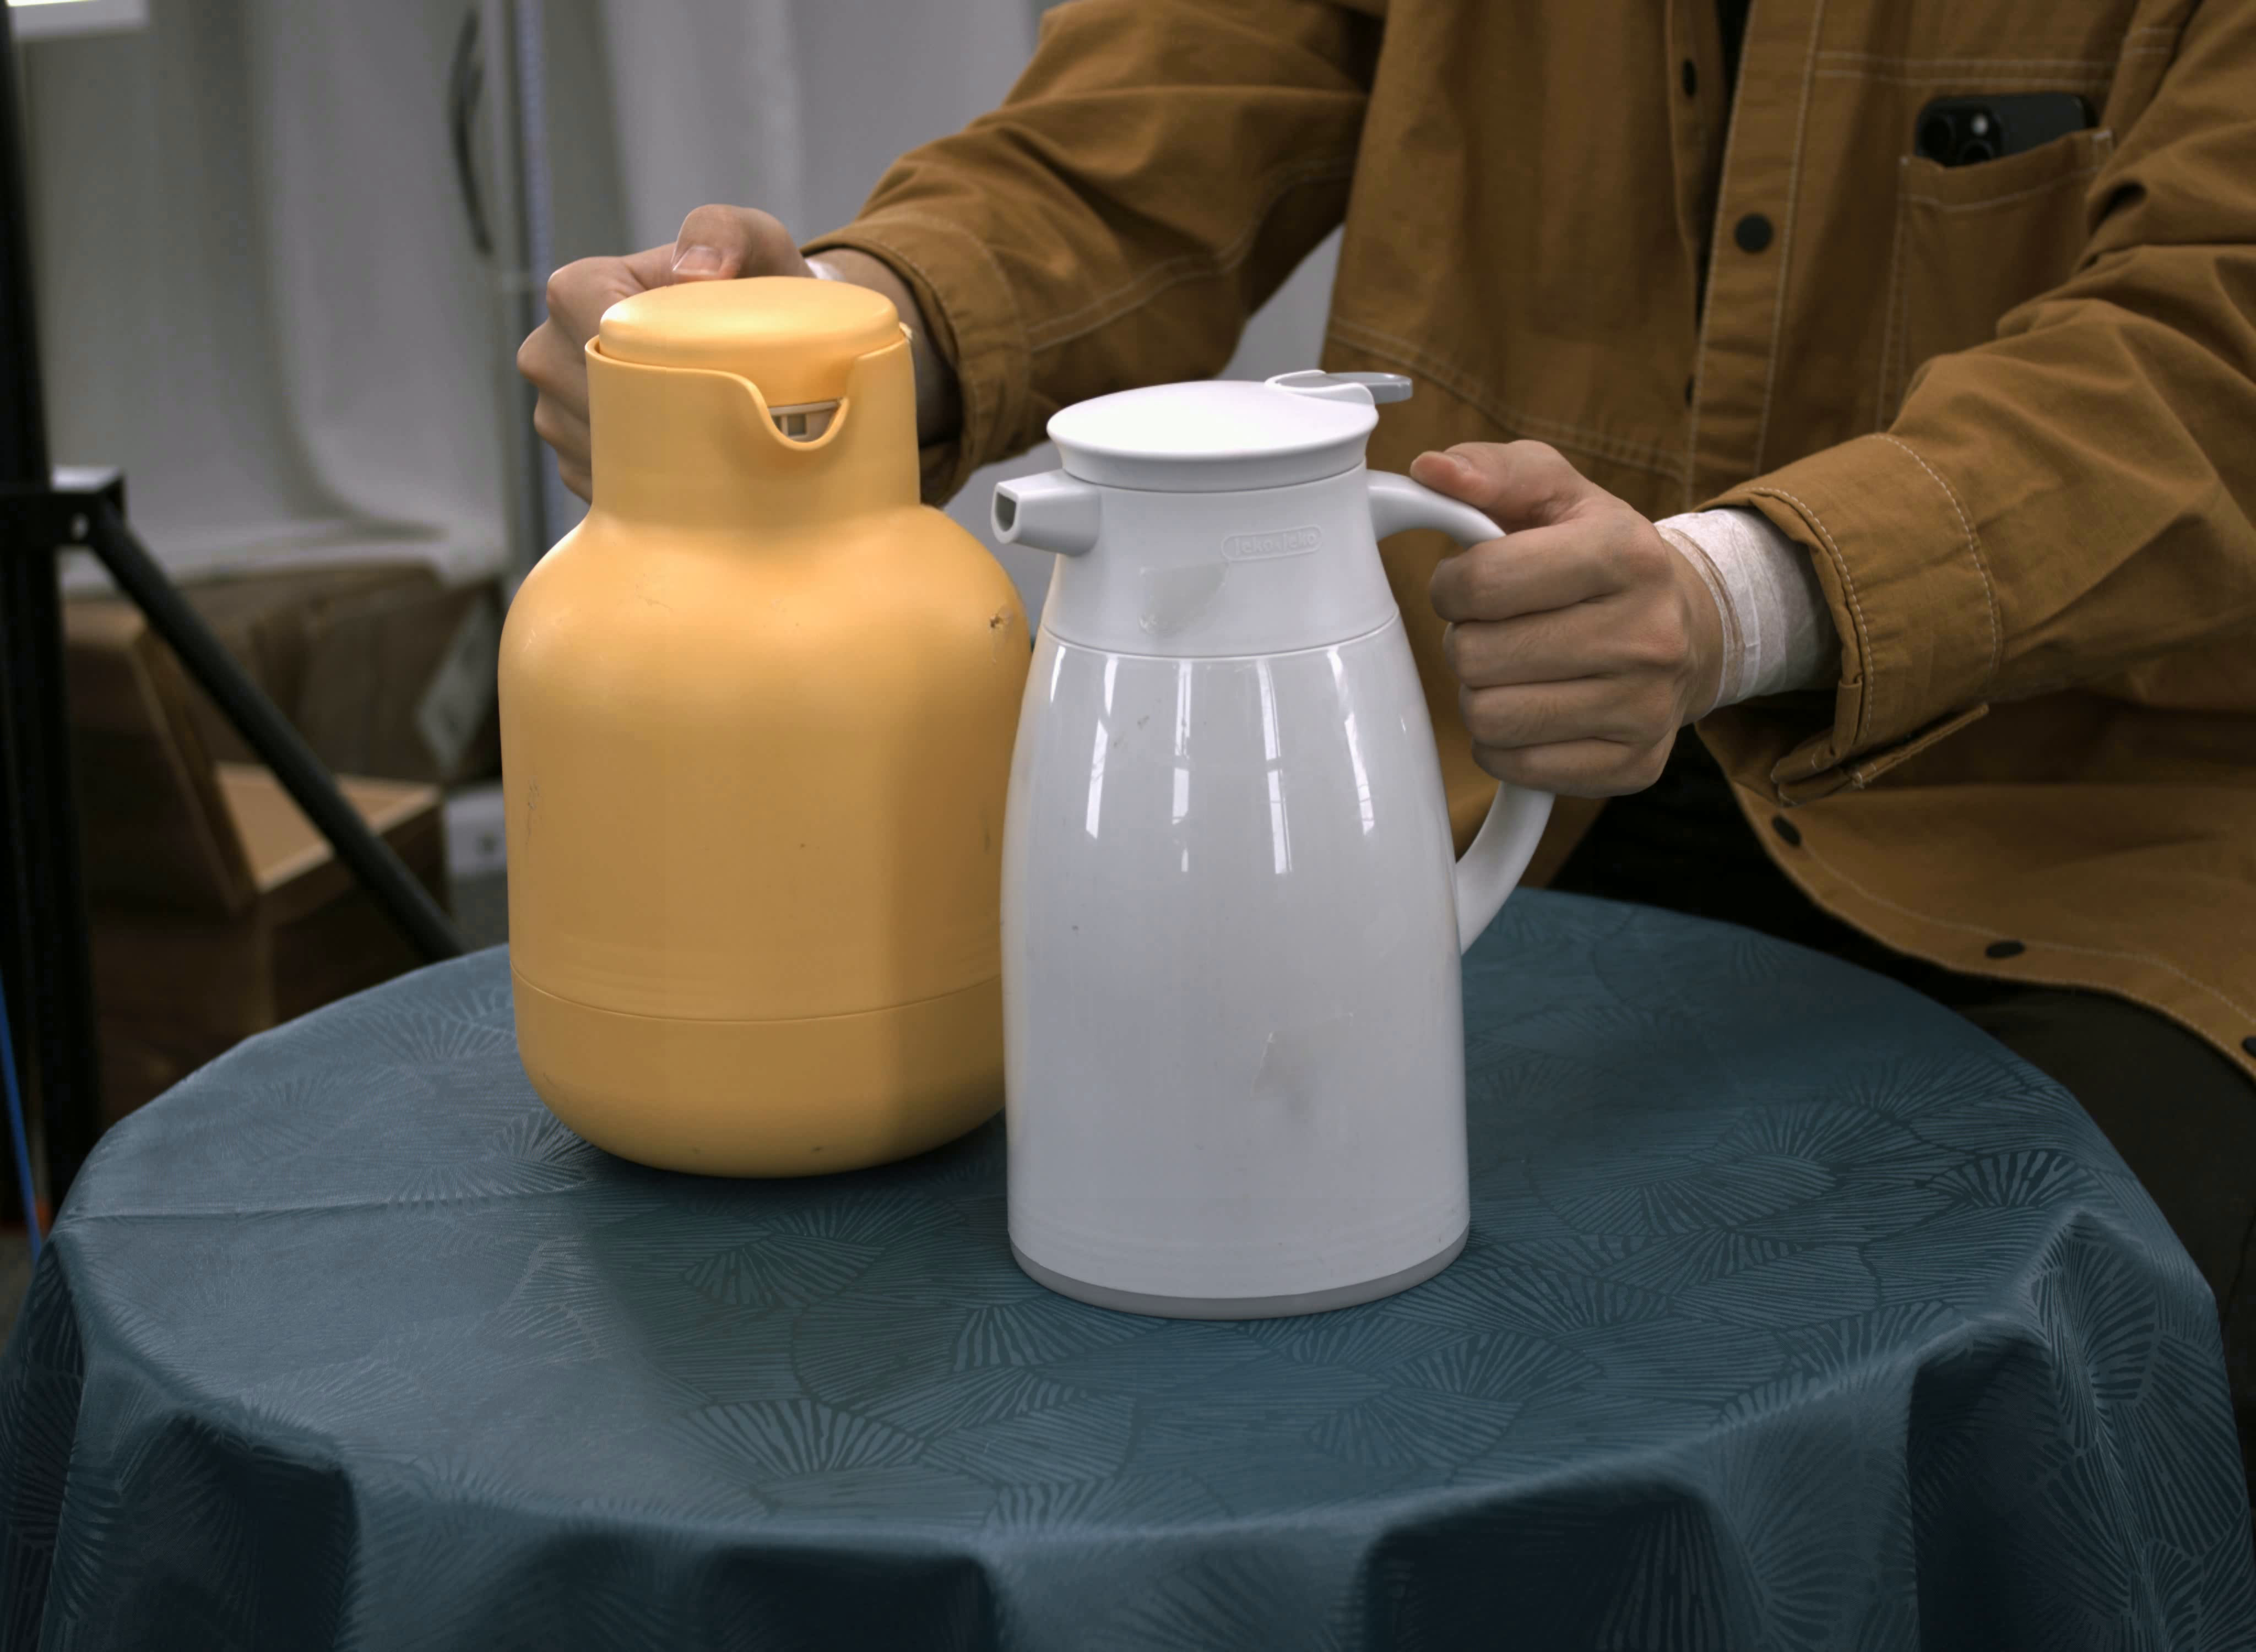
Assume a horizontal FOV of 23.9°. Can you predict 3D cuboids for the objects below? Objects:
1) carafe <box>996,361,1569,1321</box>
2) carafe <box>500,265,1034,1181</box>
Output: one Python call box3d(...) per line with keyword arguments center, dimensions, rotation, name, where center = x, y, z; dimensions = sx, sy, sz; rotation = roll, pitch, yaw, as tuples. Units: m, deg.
box3d(center=(0.045, -0.004, 1.489), dimensions=(0.164, 0.248, 0.135), rotation=(-7, 16, -20), name="carafe")
box3d(center=(-0.111, -0.039, 1.619), dimensions=(0.161, 0.260, 0.205), rotation=(-3, 16, -13), name="carafe")
